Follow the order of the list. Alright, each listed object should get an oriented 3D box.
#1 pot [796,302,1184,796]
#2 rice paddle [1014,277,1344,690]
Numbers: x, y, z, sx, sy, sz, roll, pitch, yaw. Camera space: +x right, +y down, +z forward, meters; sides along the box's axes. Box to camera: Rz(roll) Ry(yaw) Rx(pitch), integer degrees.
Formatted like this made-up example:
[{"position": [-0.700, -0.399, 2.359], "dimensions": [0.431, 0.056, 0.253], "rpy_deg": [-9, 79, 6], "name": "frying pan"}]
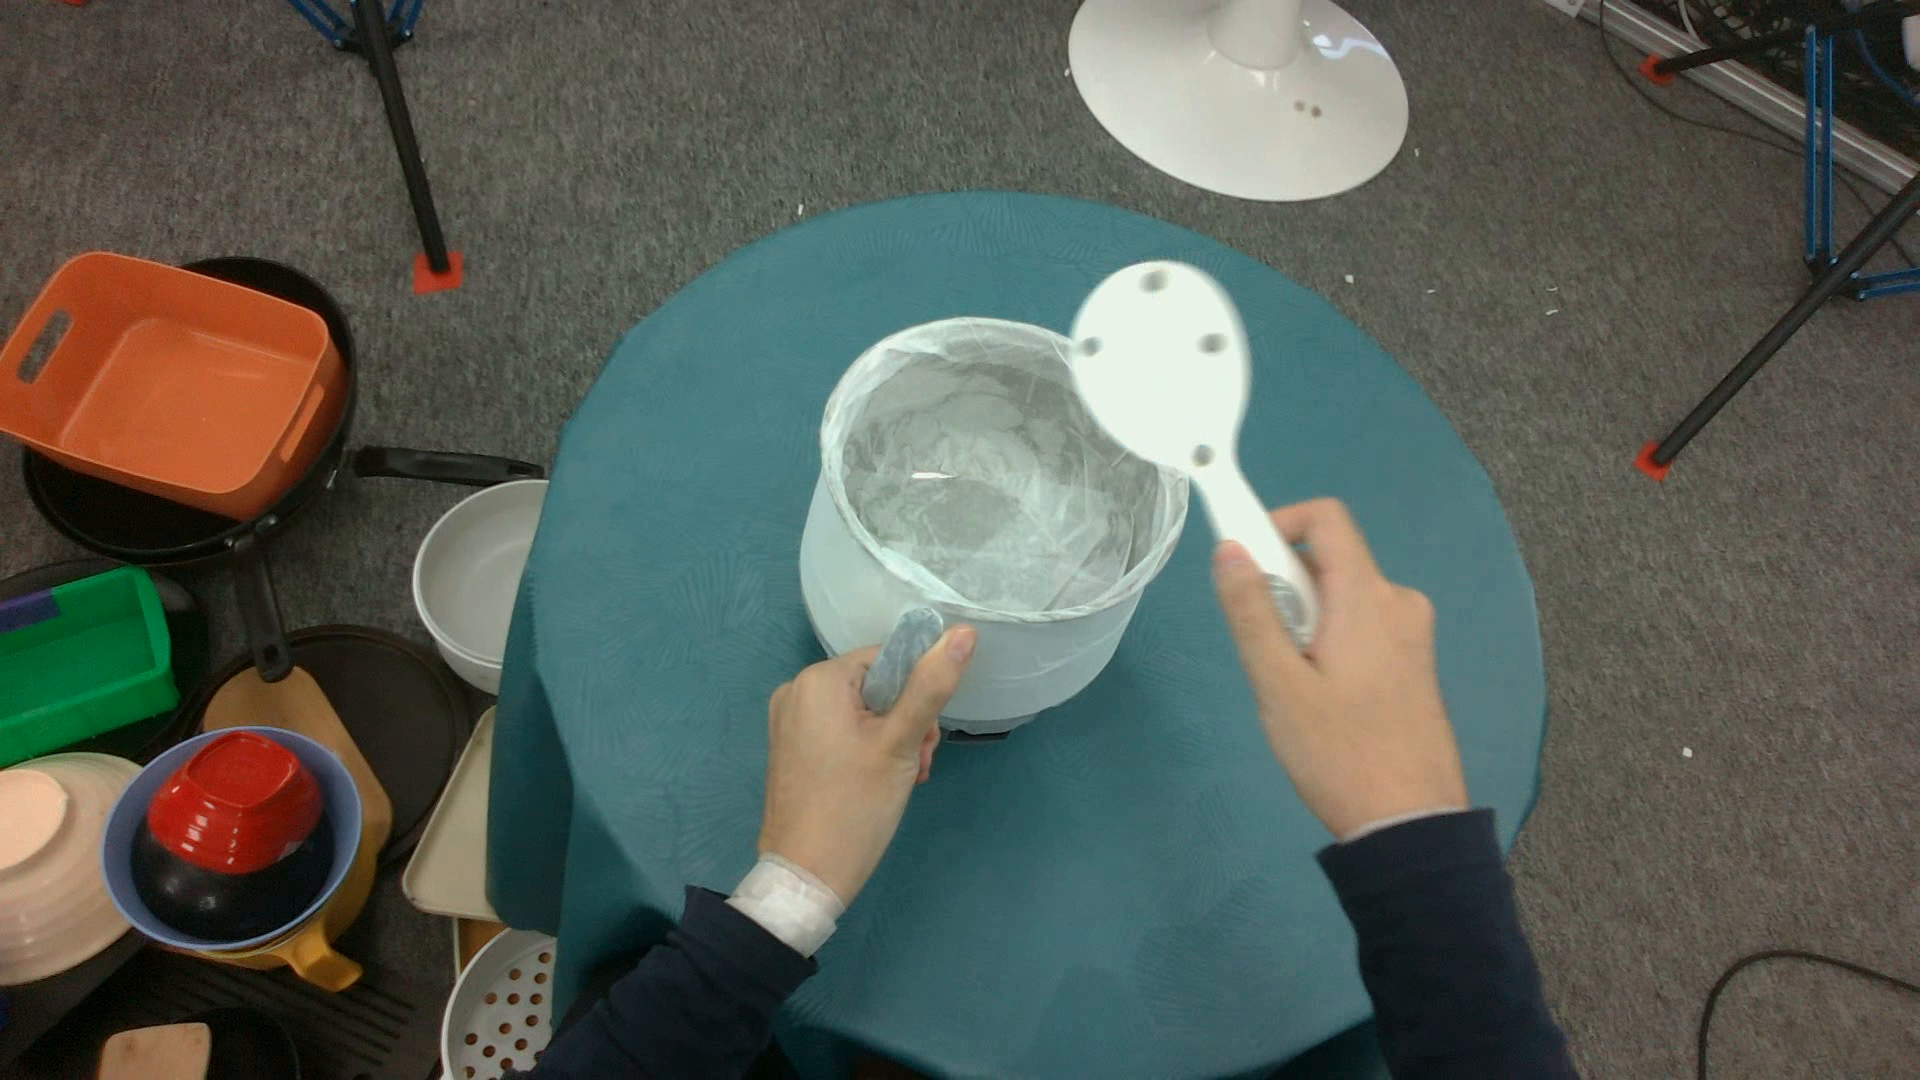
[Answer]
[{"position": [-0.001, 0.009, 0.677], "dimensions": [0.178, 0.136, 0.235], "rpy_deg": [22, 52, 5], "name": "pot"}, {"position": [0.086, -0.030, 0.574], "dimensions": [0.068, 0.029, 0.205], "rpy_deg": [-37, 67, 14], "name": "rice paddle"}]
